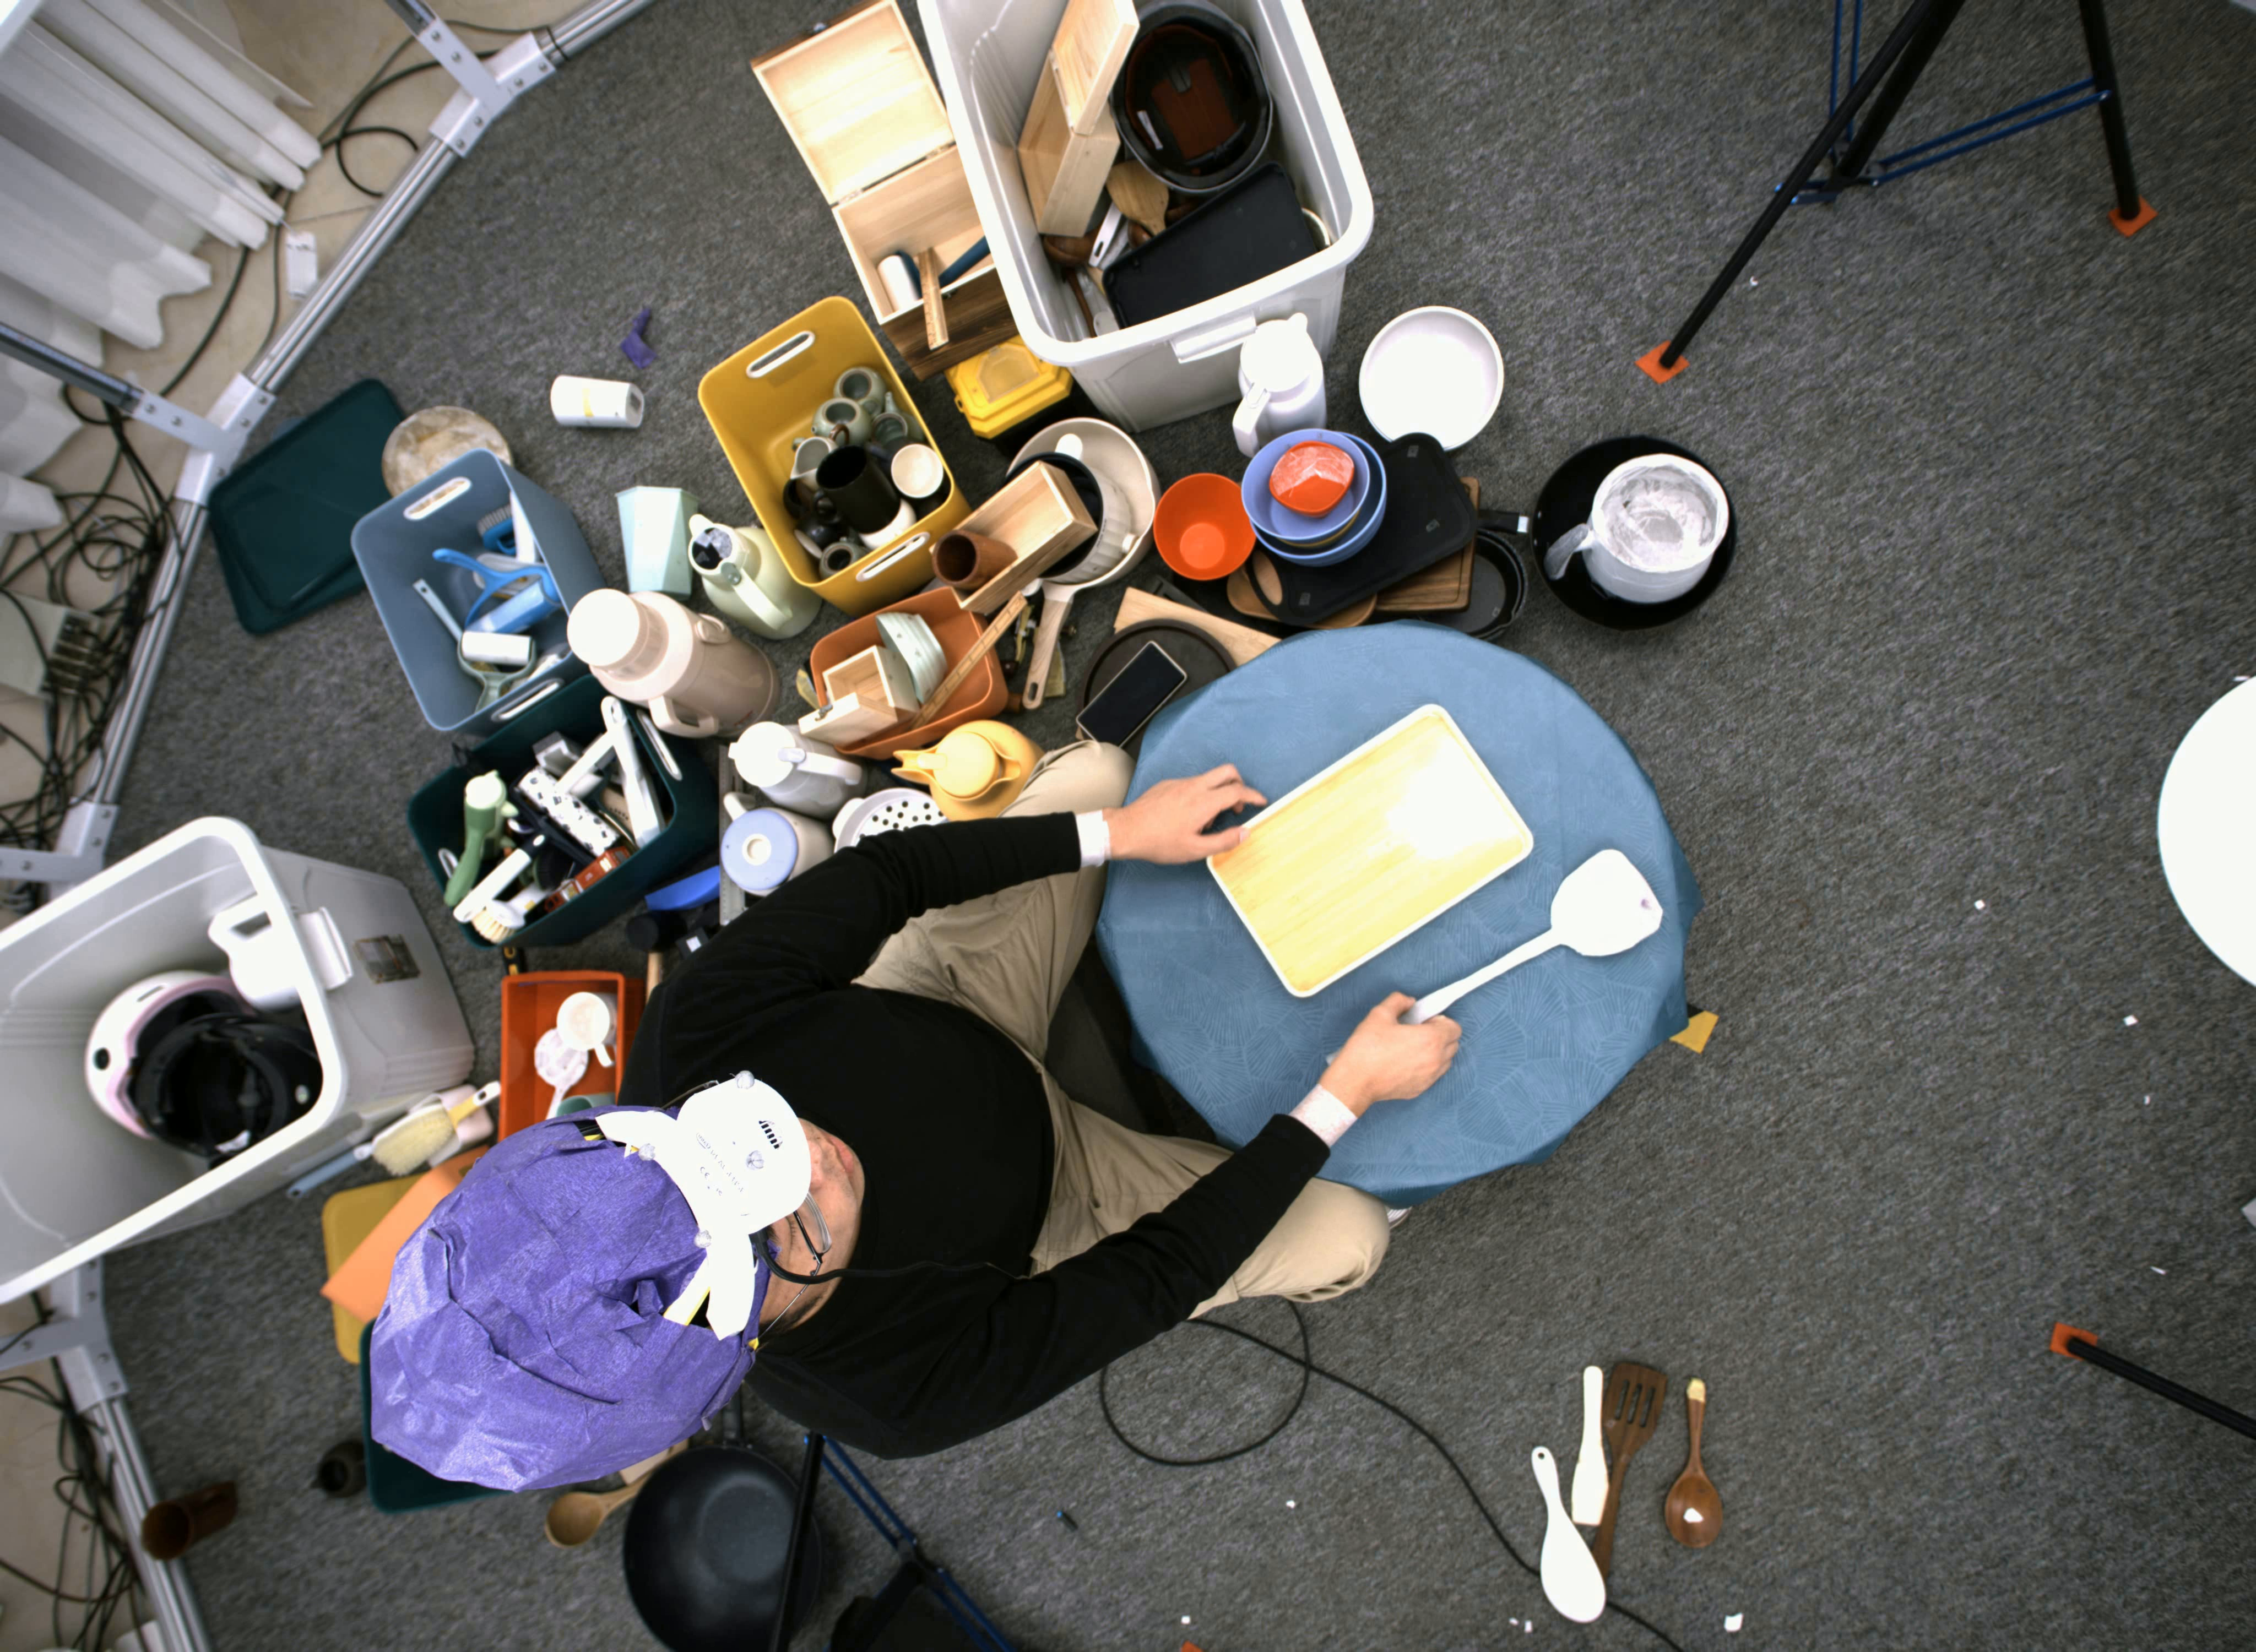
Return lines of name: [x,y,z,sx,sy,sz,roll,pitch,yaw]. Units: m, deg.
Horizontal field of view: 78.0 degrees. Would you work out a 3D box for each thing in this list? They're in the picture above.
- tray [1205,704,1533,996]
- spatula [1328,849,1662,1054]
tray: [0.251,0.025,1.453,0.302,0.027,0.190,-33,82,7]
spatula: [0.369,0.145,1.415,0.367,0.045,0.097,-29,74,7]
